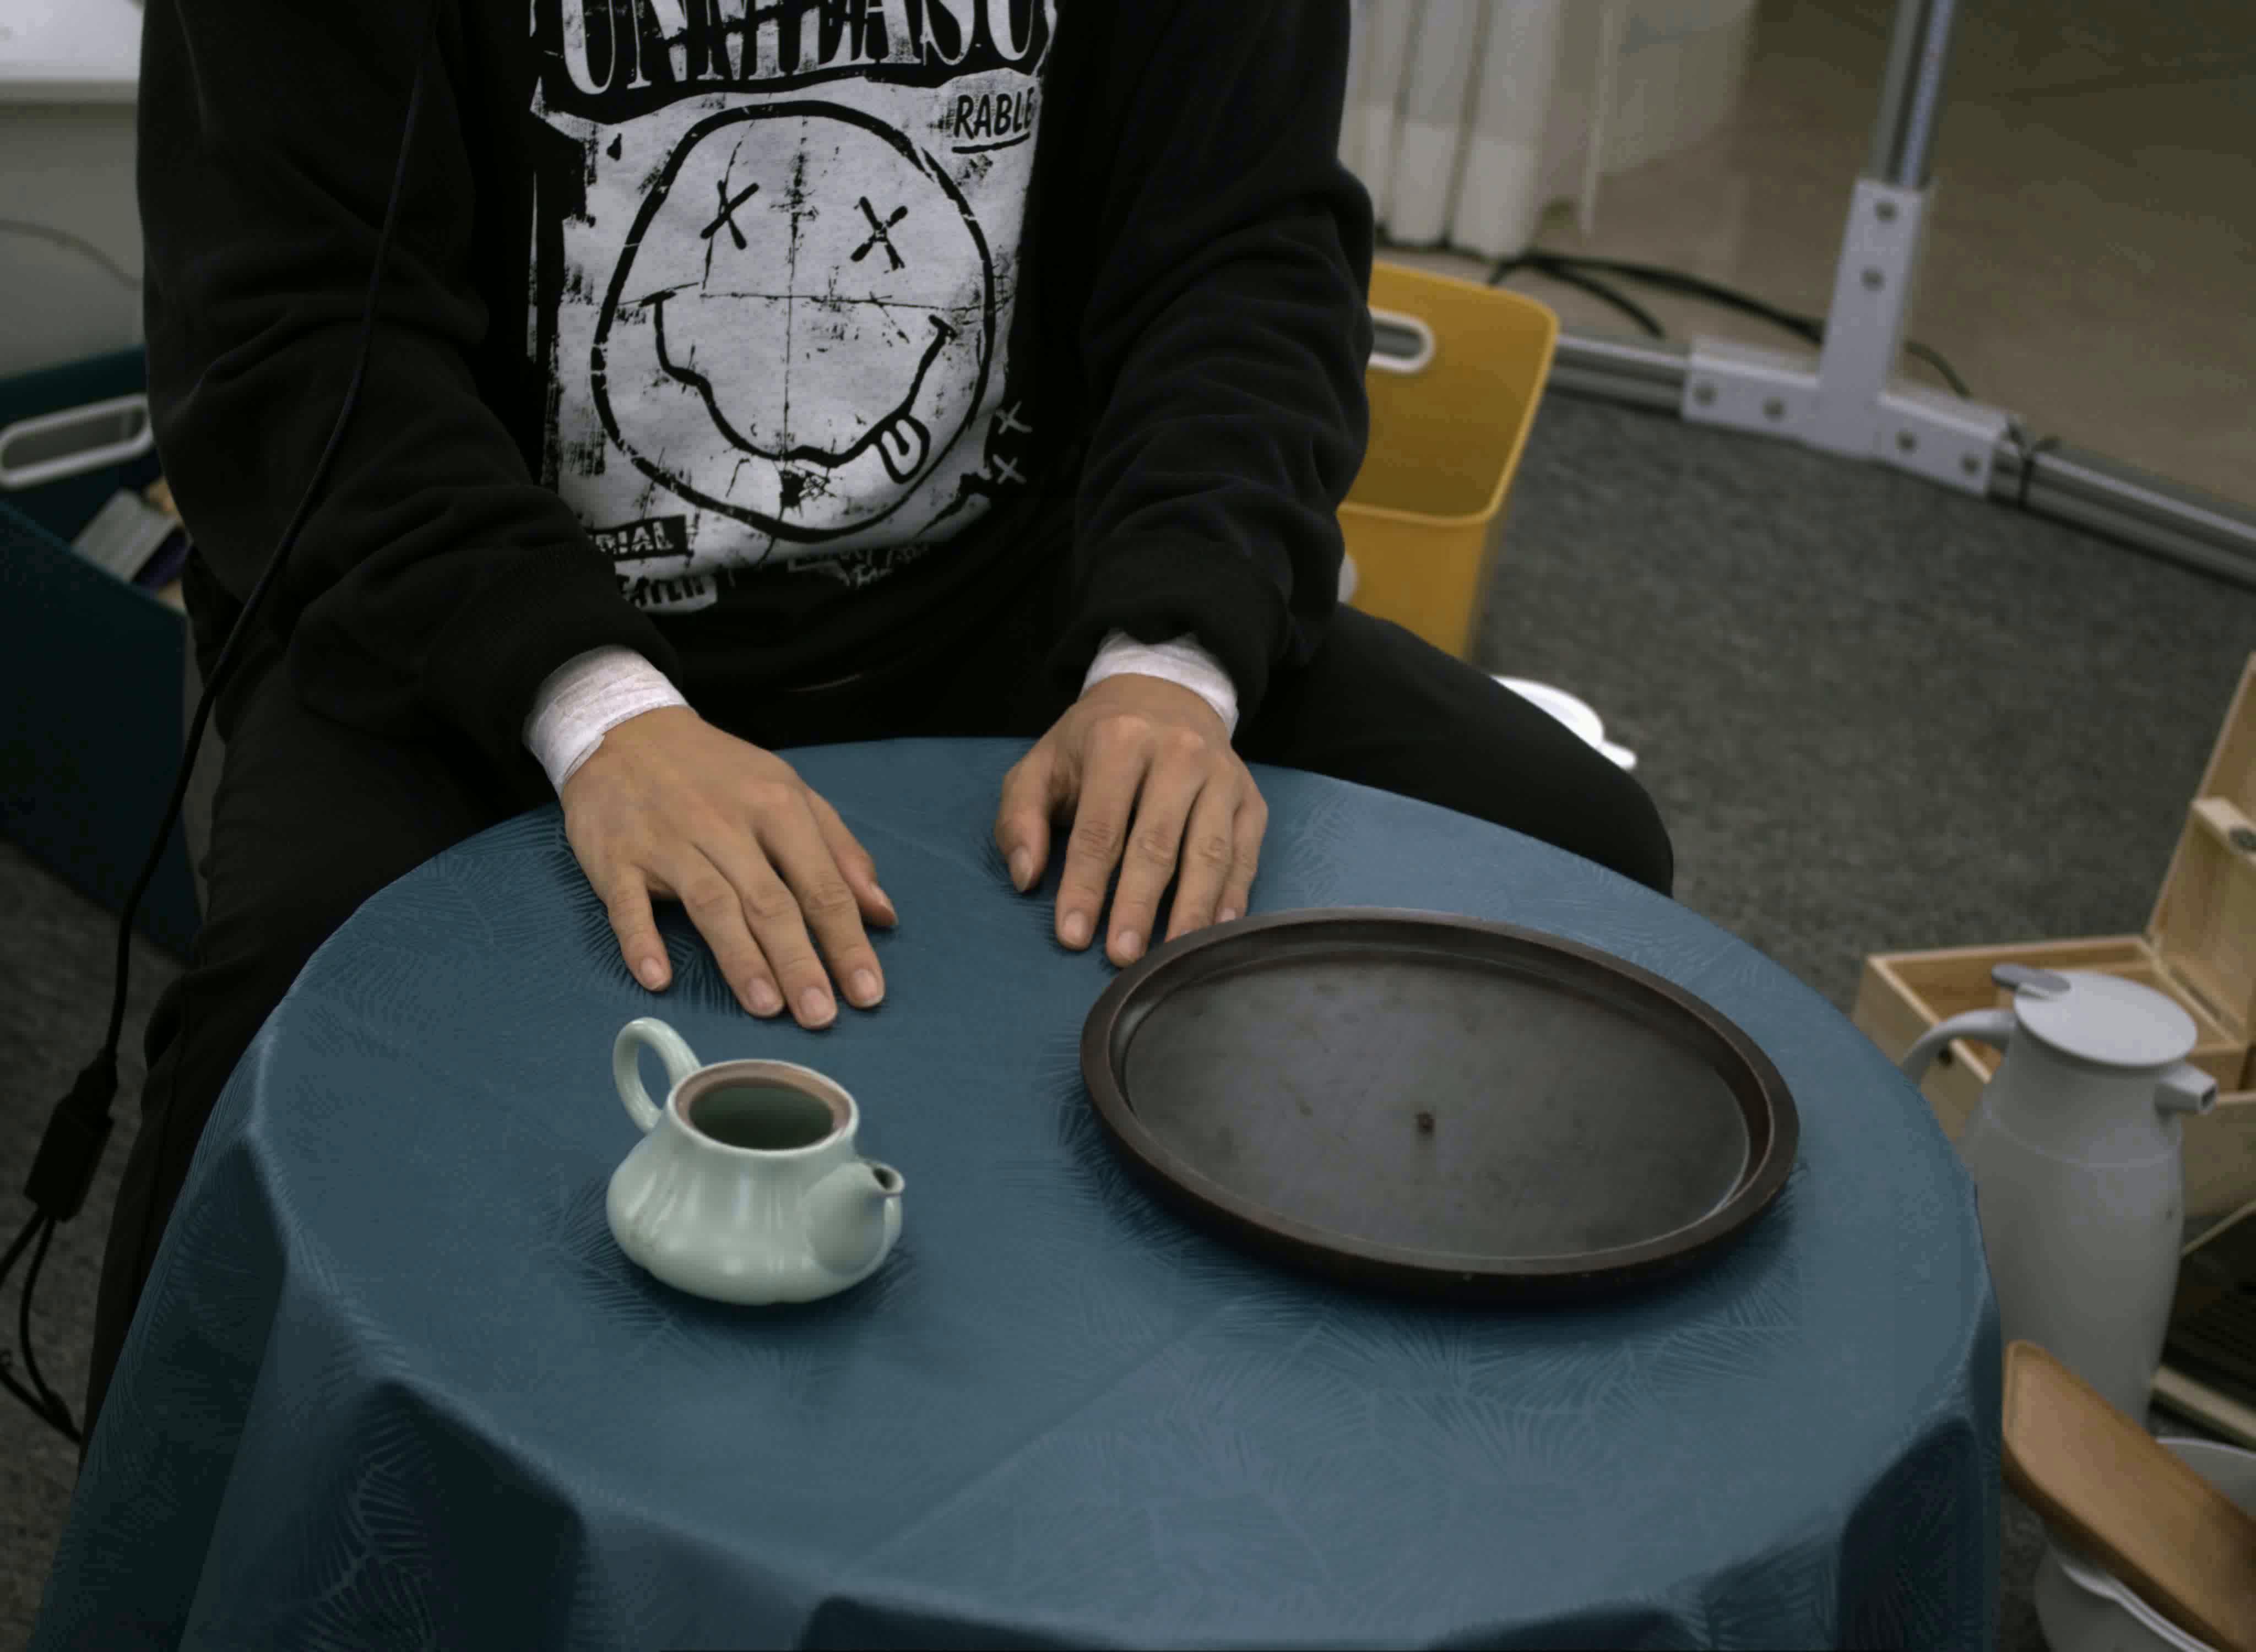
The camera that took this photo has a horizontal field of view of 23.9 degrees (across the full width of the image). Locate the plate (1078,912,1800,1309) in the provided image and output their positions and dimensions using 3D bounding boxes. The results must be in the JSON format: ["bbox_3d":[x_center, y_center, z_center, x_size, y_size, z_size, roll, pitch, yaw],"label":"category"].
[{"bbox_3d":[0.108,0.097,1.856,0.254,0.029,0.256,5,28,-3],"label":"plate"}]

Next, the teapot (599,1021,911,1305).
[{"bbox_3d":[-0.124,0.112,1.734,0.138,0.061,0.096,28,35,35],"label":"teapot"}]
